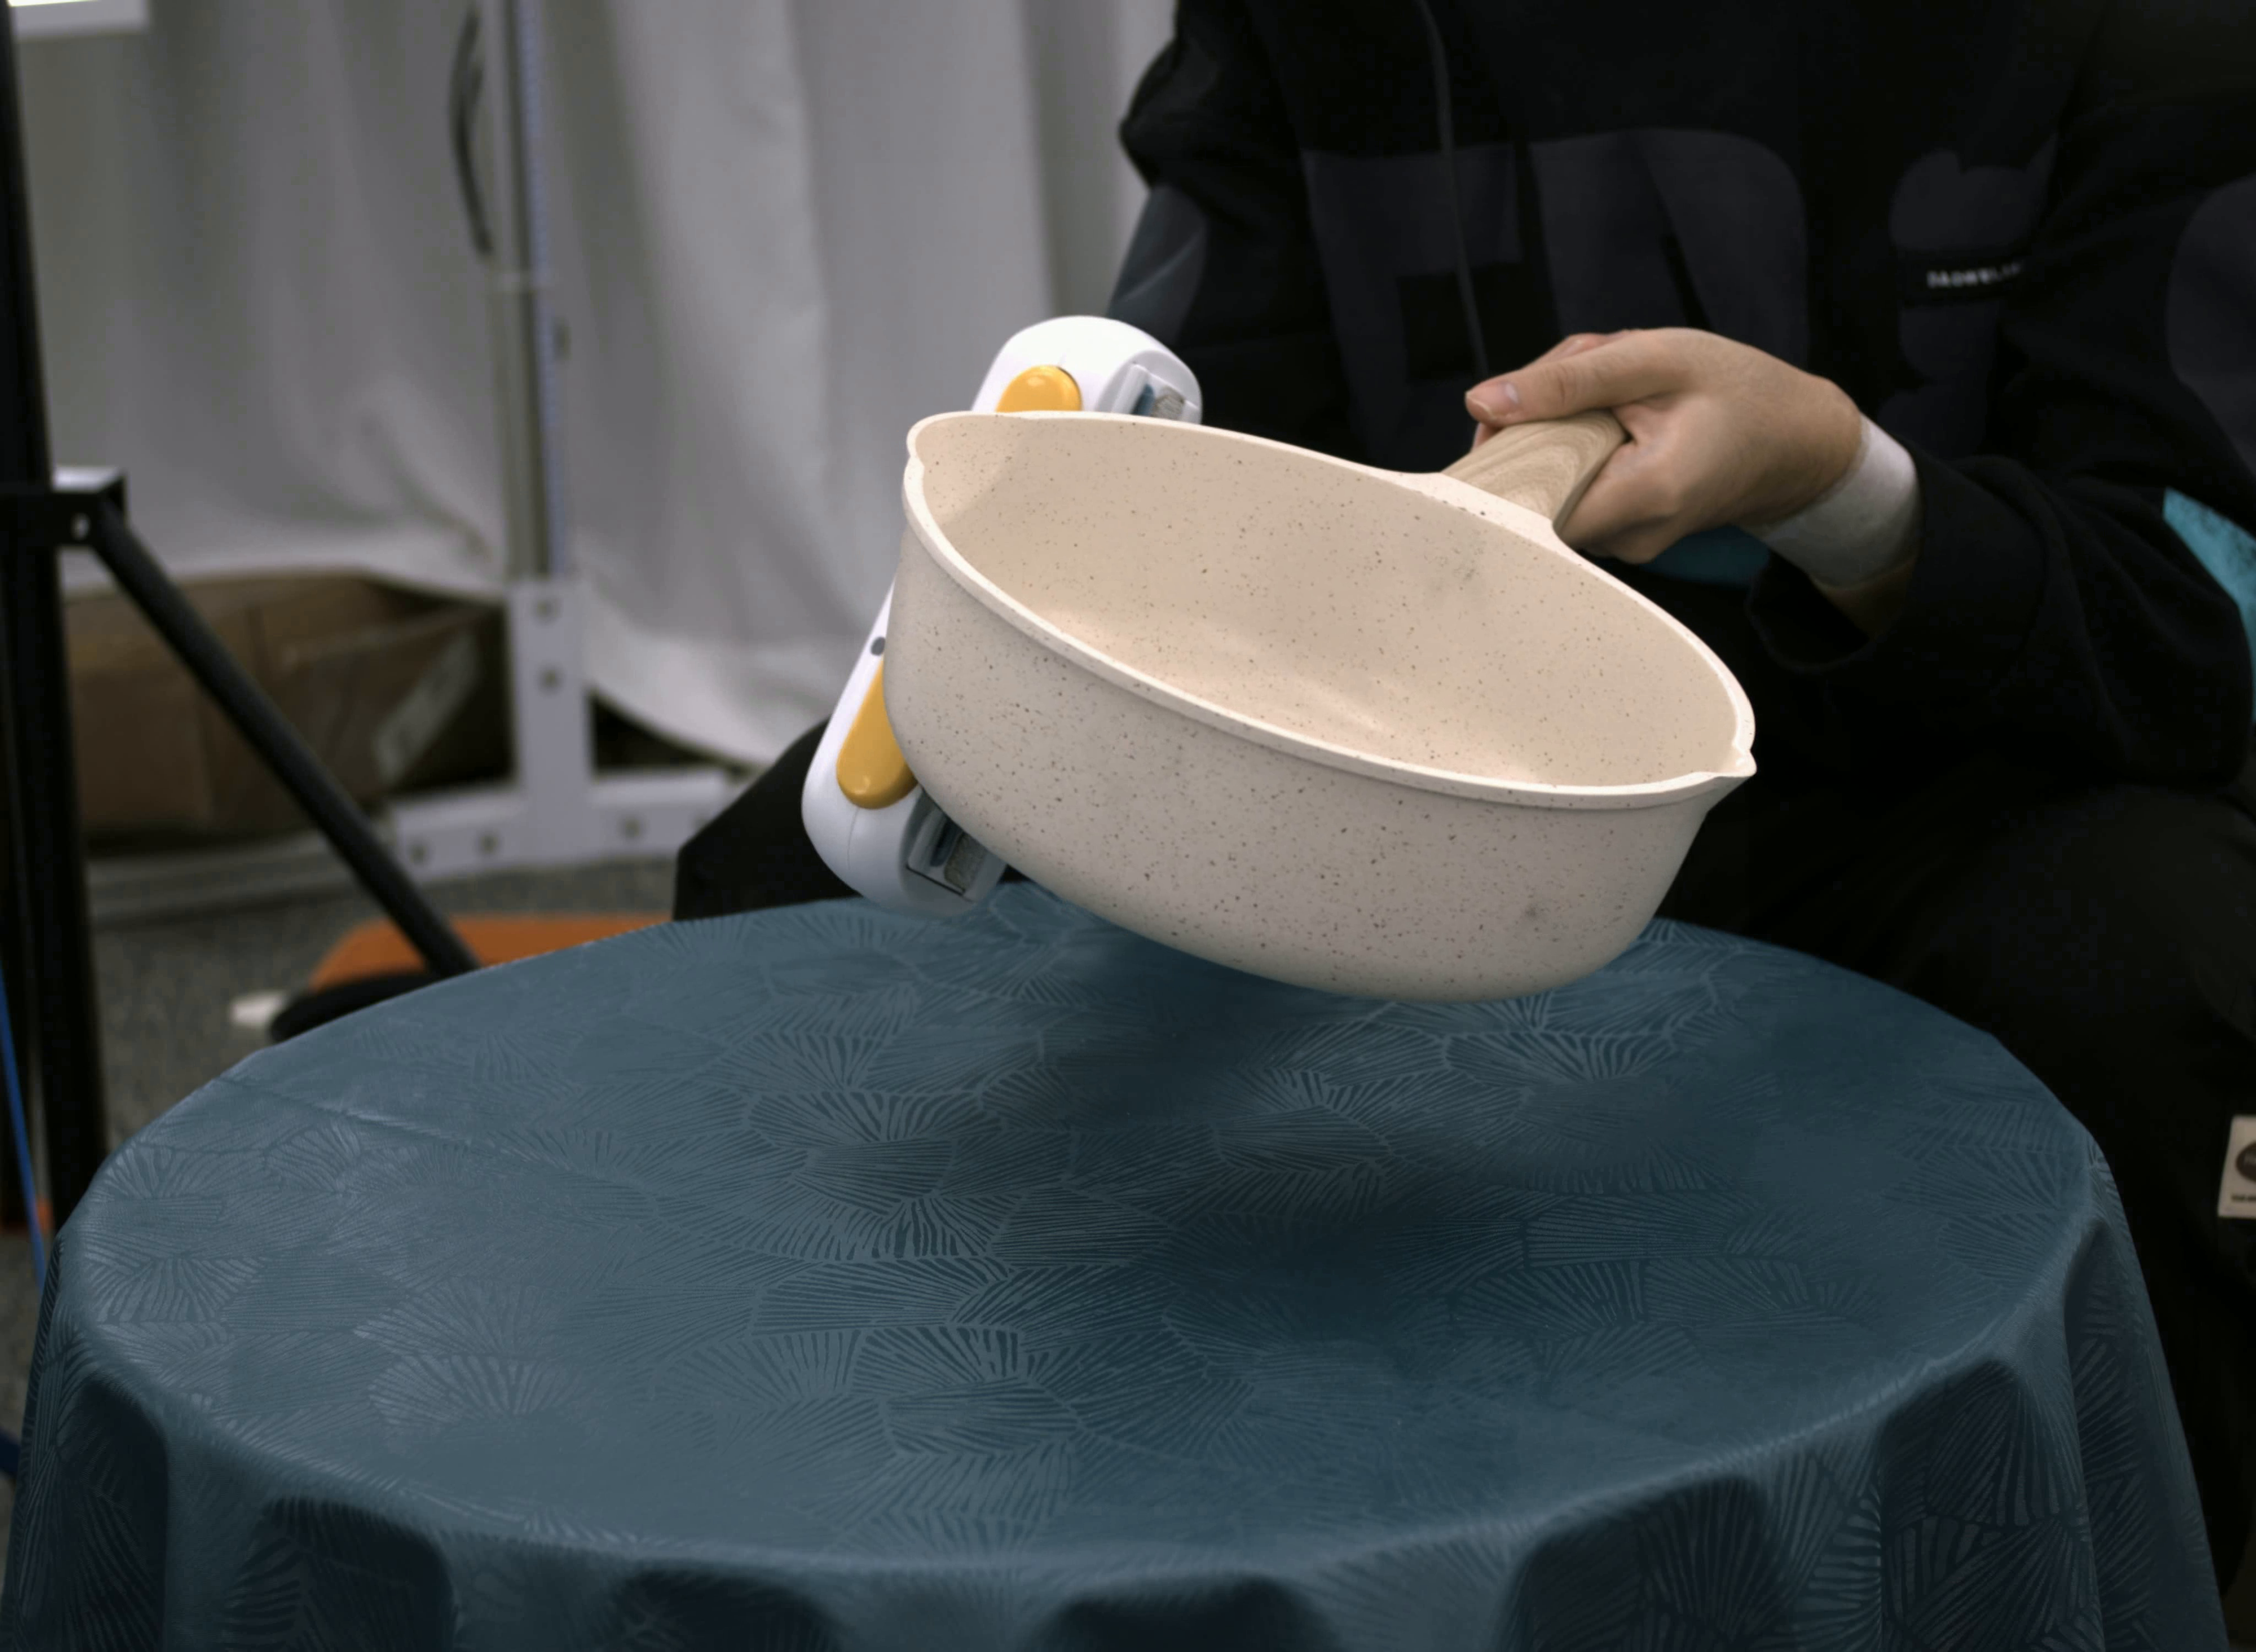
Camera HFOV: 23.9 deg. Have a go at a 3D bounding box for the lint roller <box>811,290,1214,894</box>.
[{"bbox_3d":[-0.023,-0.058,1.689,0.075,0.193,0.189,18,-10,24],"label":"lint roller"}]

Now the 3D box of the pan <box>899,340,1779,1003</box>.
[{"bbox_3d":[0.086,-0.058,1.586,0.266,0.102,0.429,21,21,17],"label":"pan"}]
